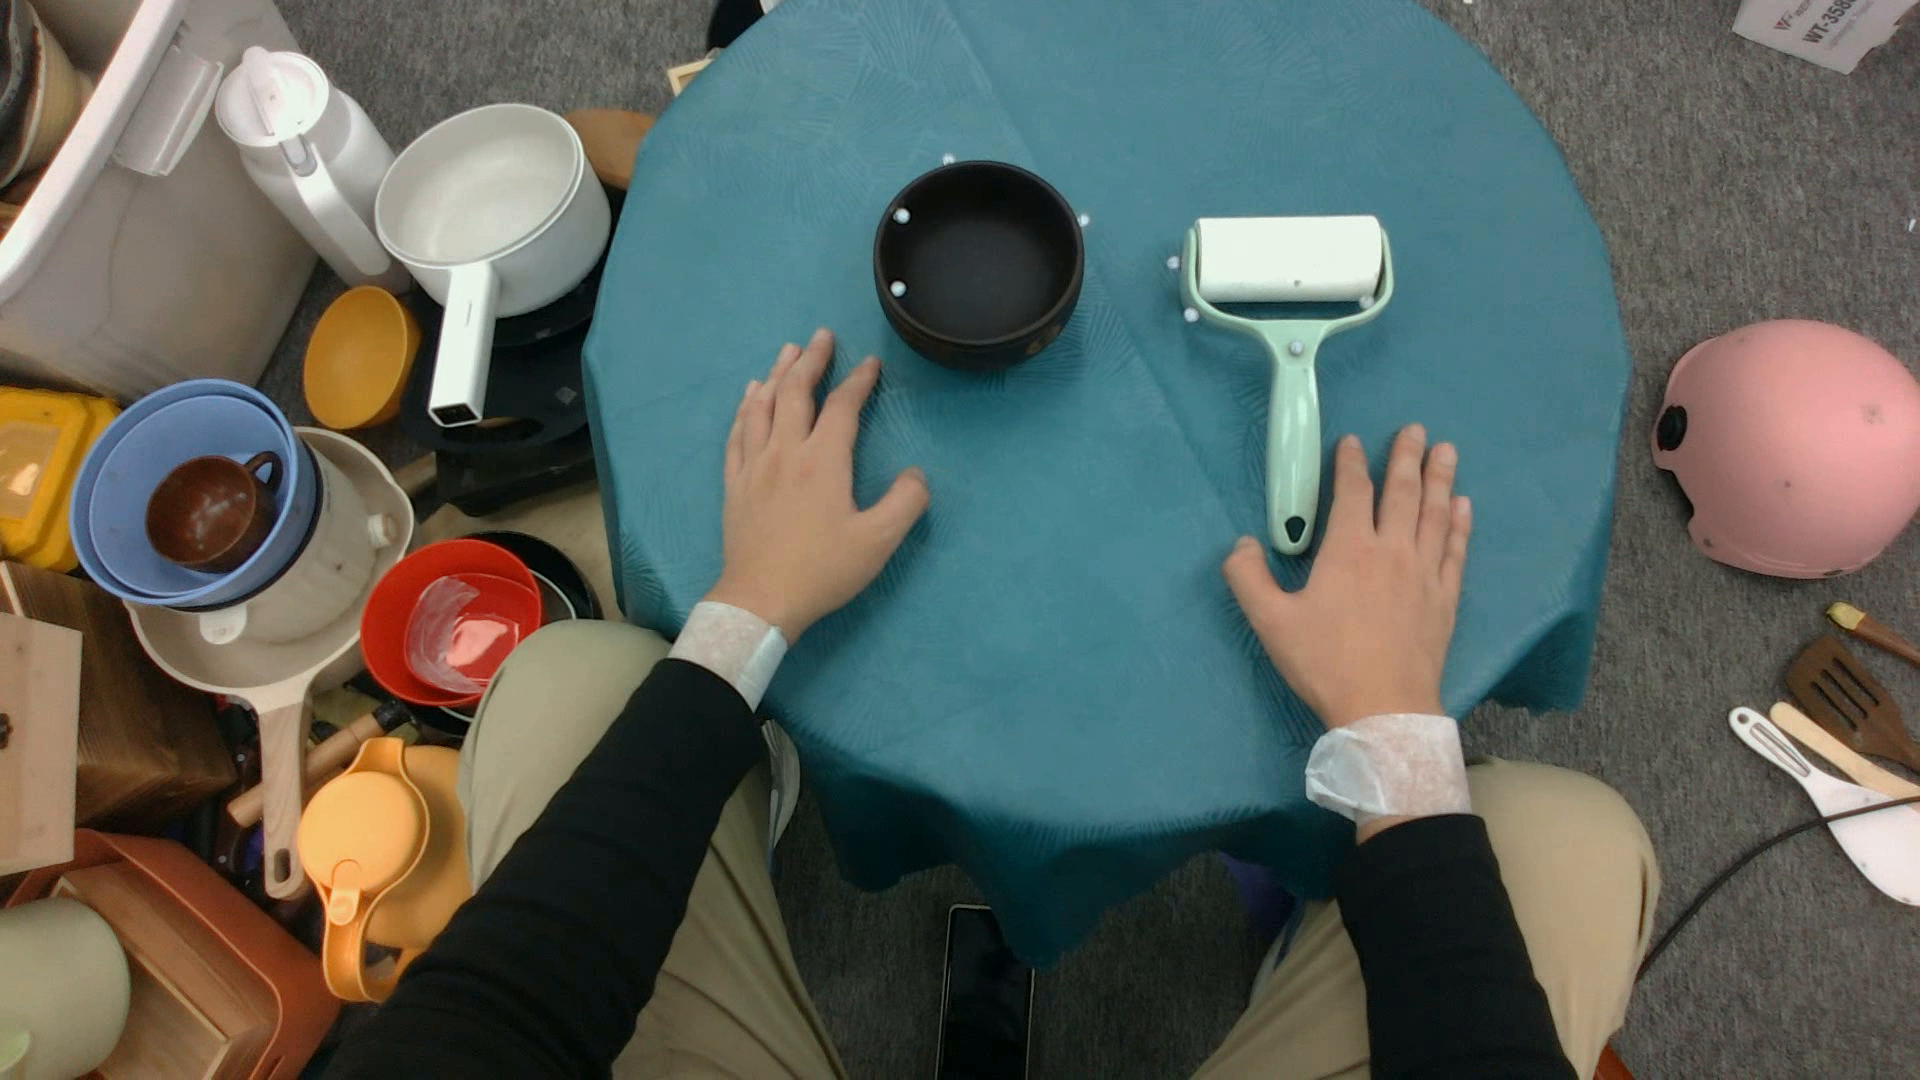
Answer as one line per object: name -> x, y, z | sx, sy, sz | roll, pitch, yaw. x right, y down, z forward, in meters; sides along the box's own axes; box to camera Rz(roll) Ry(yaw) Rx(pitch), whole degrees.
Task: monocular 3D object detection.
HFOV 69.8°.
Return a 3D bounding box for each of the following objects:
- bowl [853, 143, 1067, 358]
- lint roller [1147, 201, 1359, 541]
bowl -> 0.000, -0.156, 0.776 | 0.118, 0.069, 0.118 | 0, 73, -1
lint roller -> 0.167, -0.099, 0.773 | 0.116, 0.048, 0.198 | 0, 74, -1
